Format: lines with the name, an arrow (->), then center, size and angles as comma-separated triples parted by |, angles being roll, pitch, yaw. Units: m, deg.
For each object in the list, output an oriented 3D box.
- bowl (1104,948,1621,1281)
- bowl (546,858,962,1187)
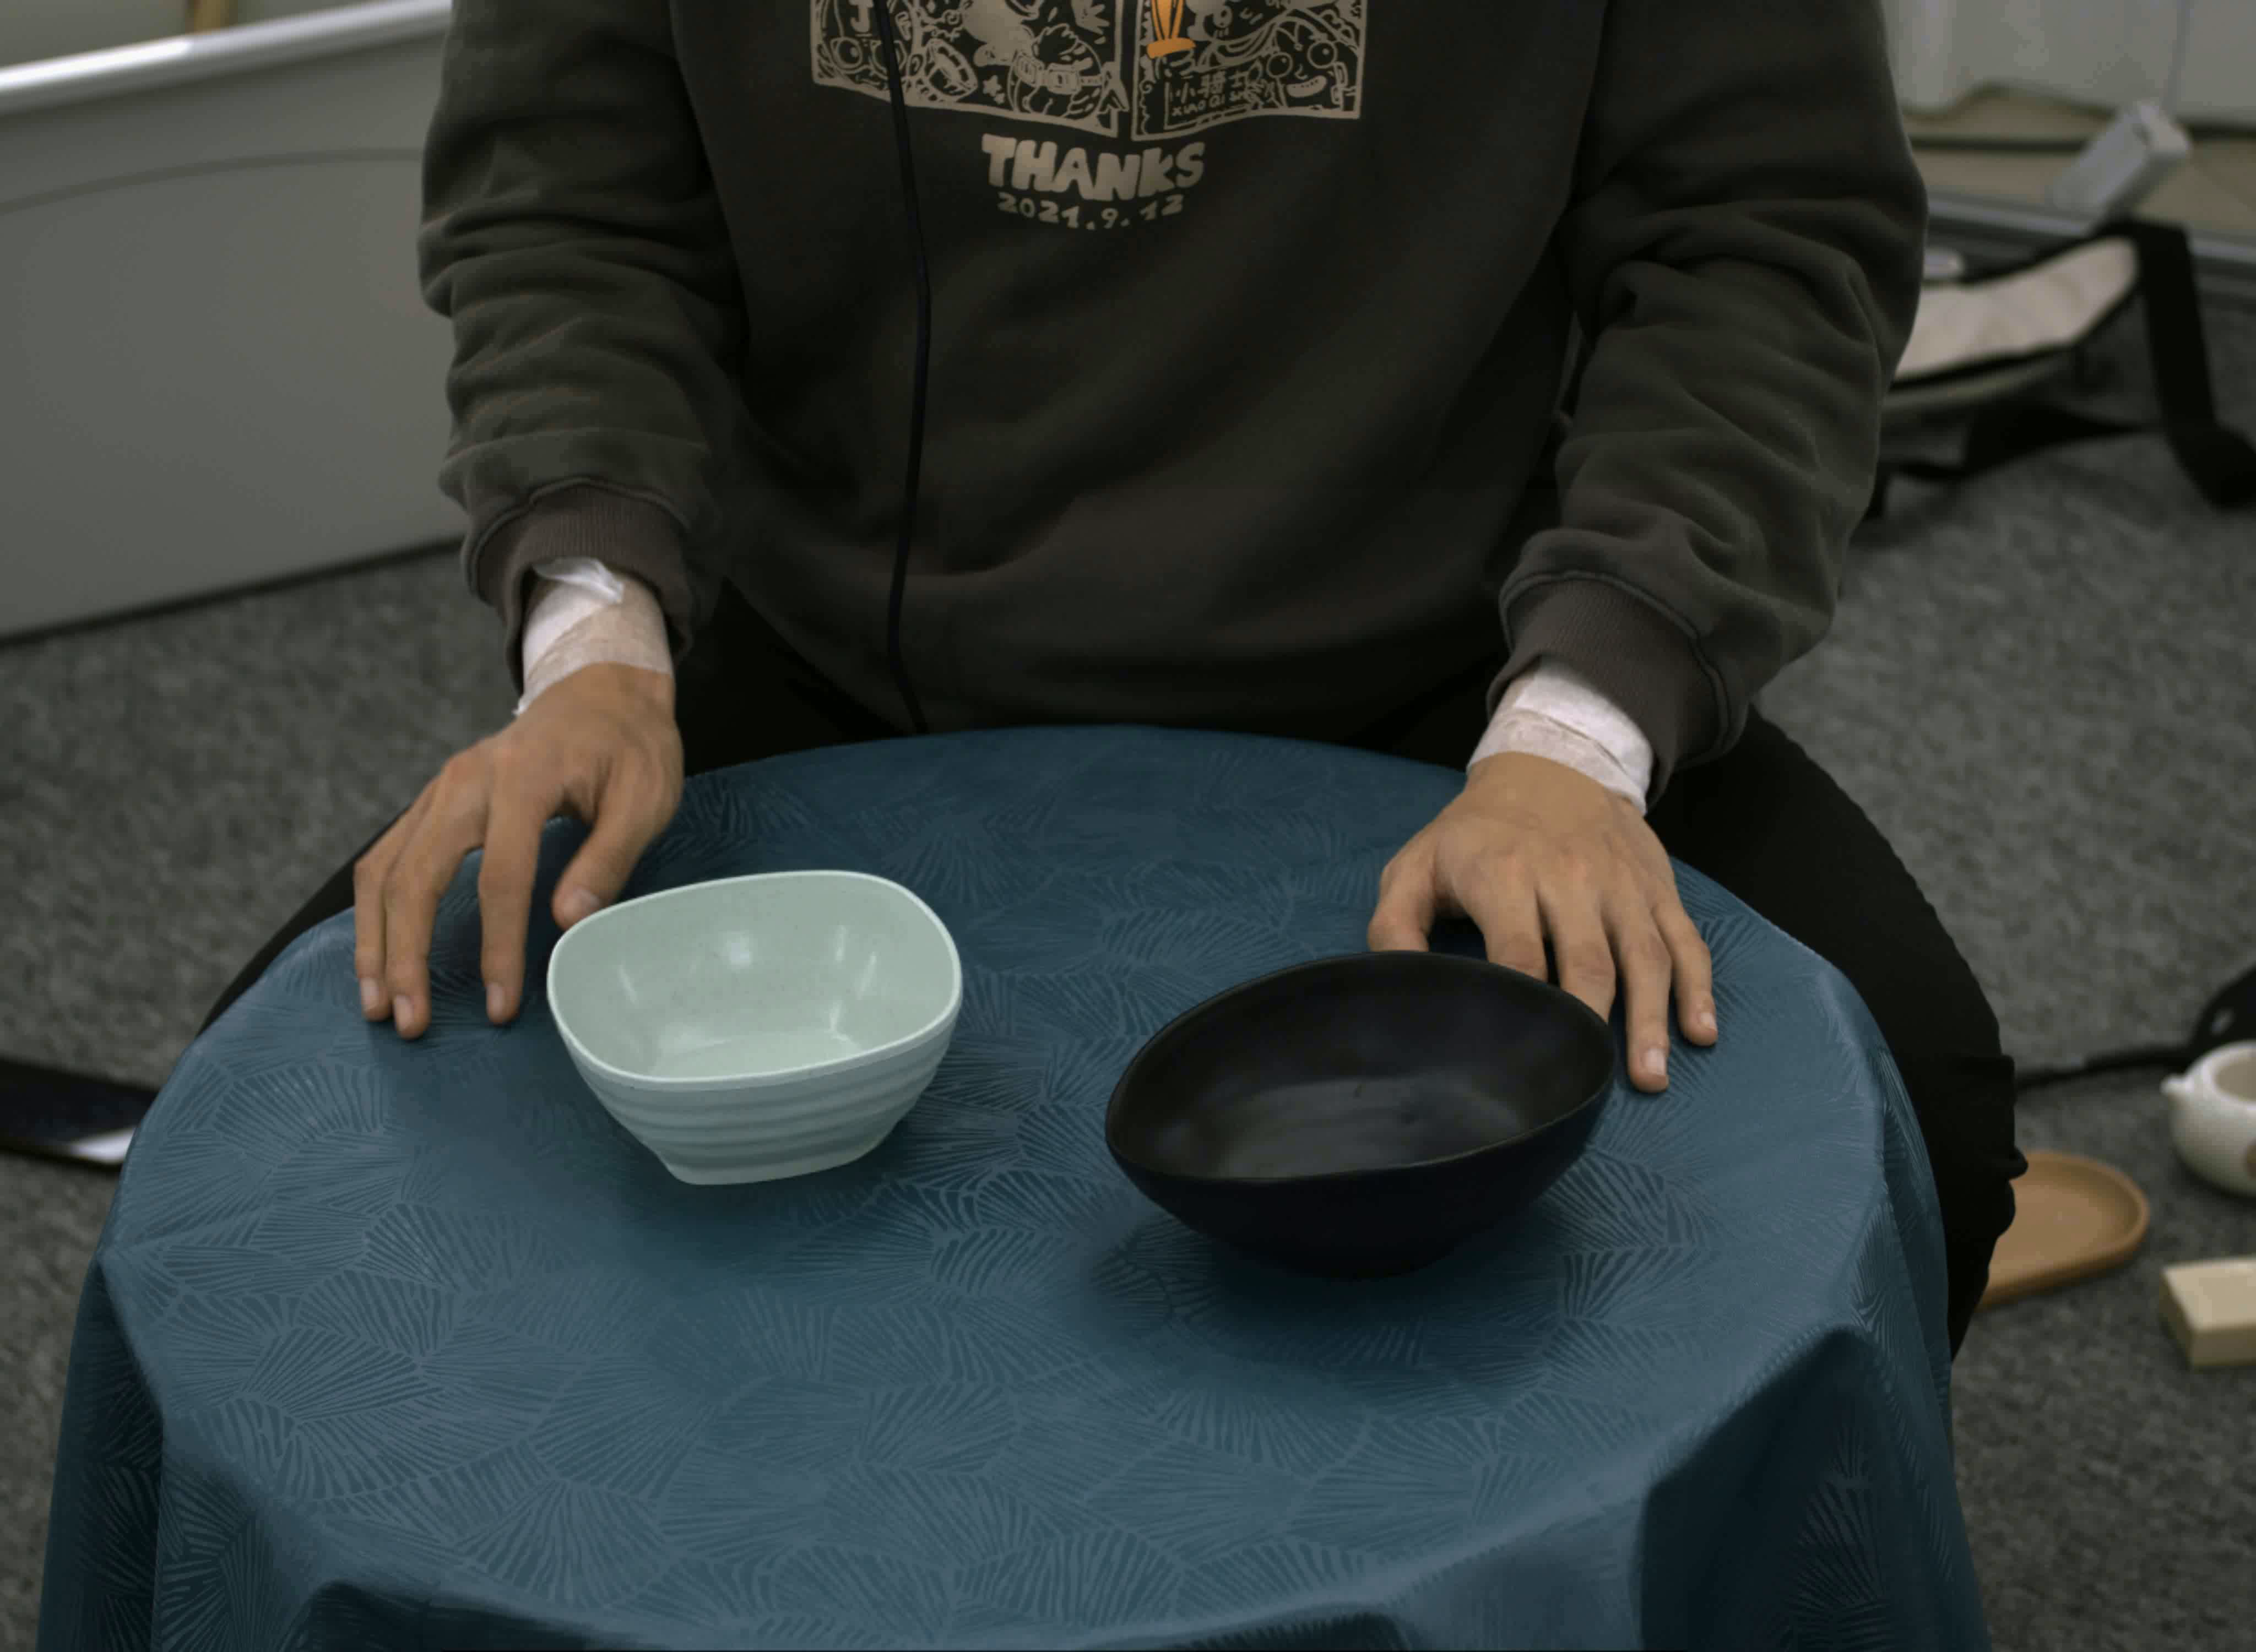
bowl -> 0.078, 0.104, 1.820 | 0.170, 0.066, 0.139 | -11, 28, -13
bowl -> -0.125, 0.073, 1.902 | 0.151, 0.058, 0.154 | -2, 30, 2
